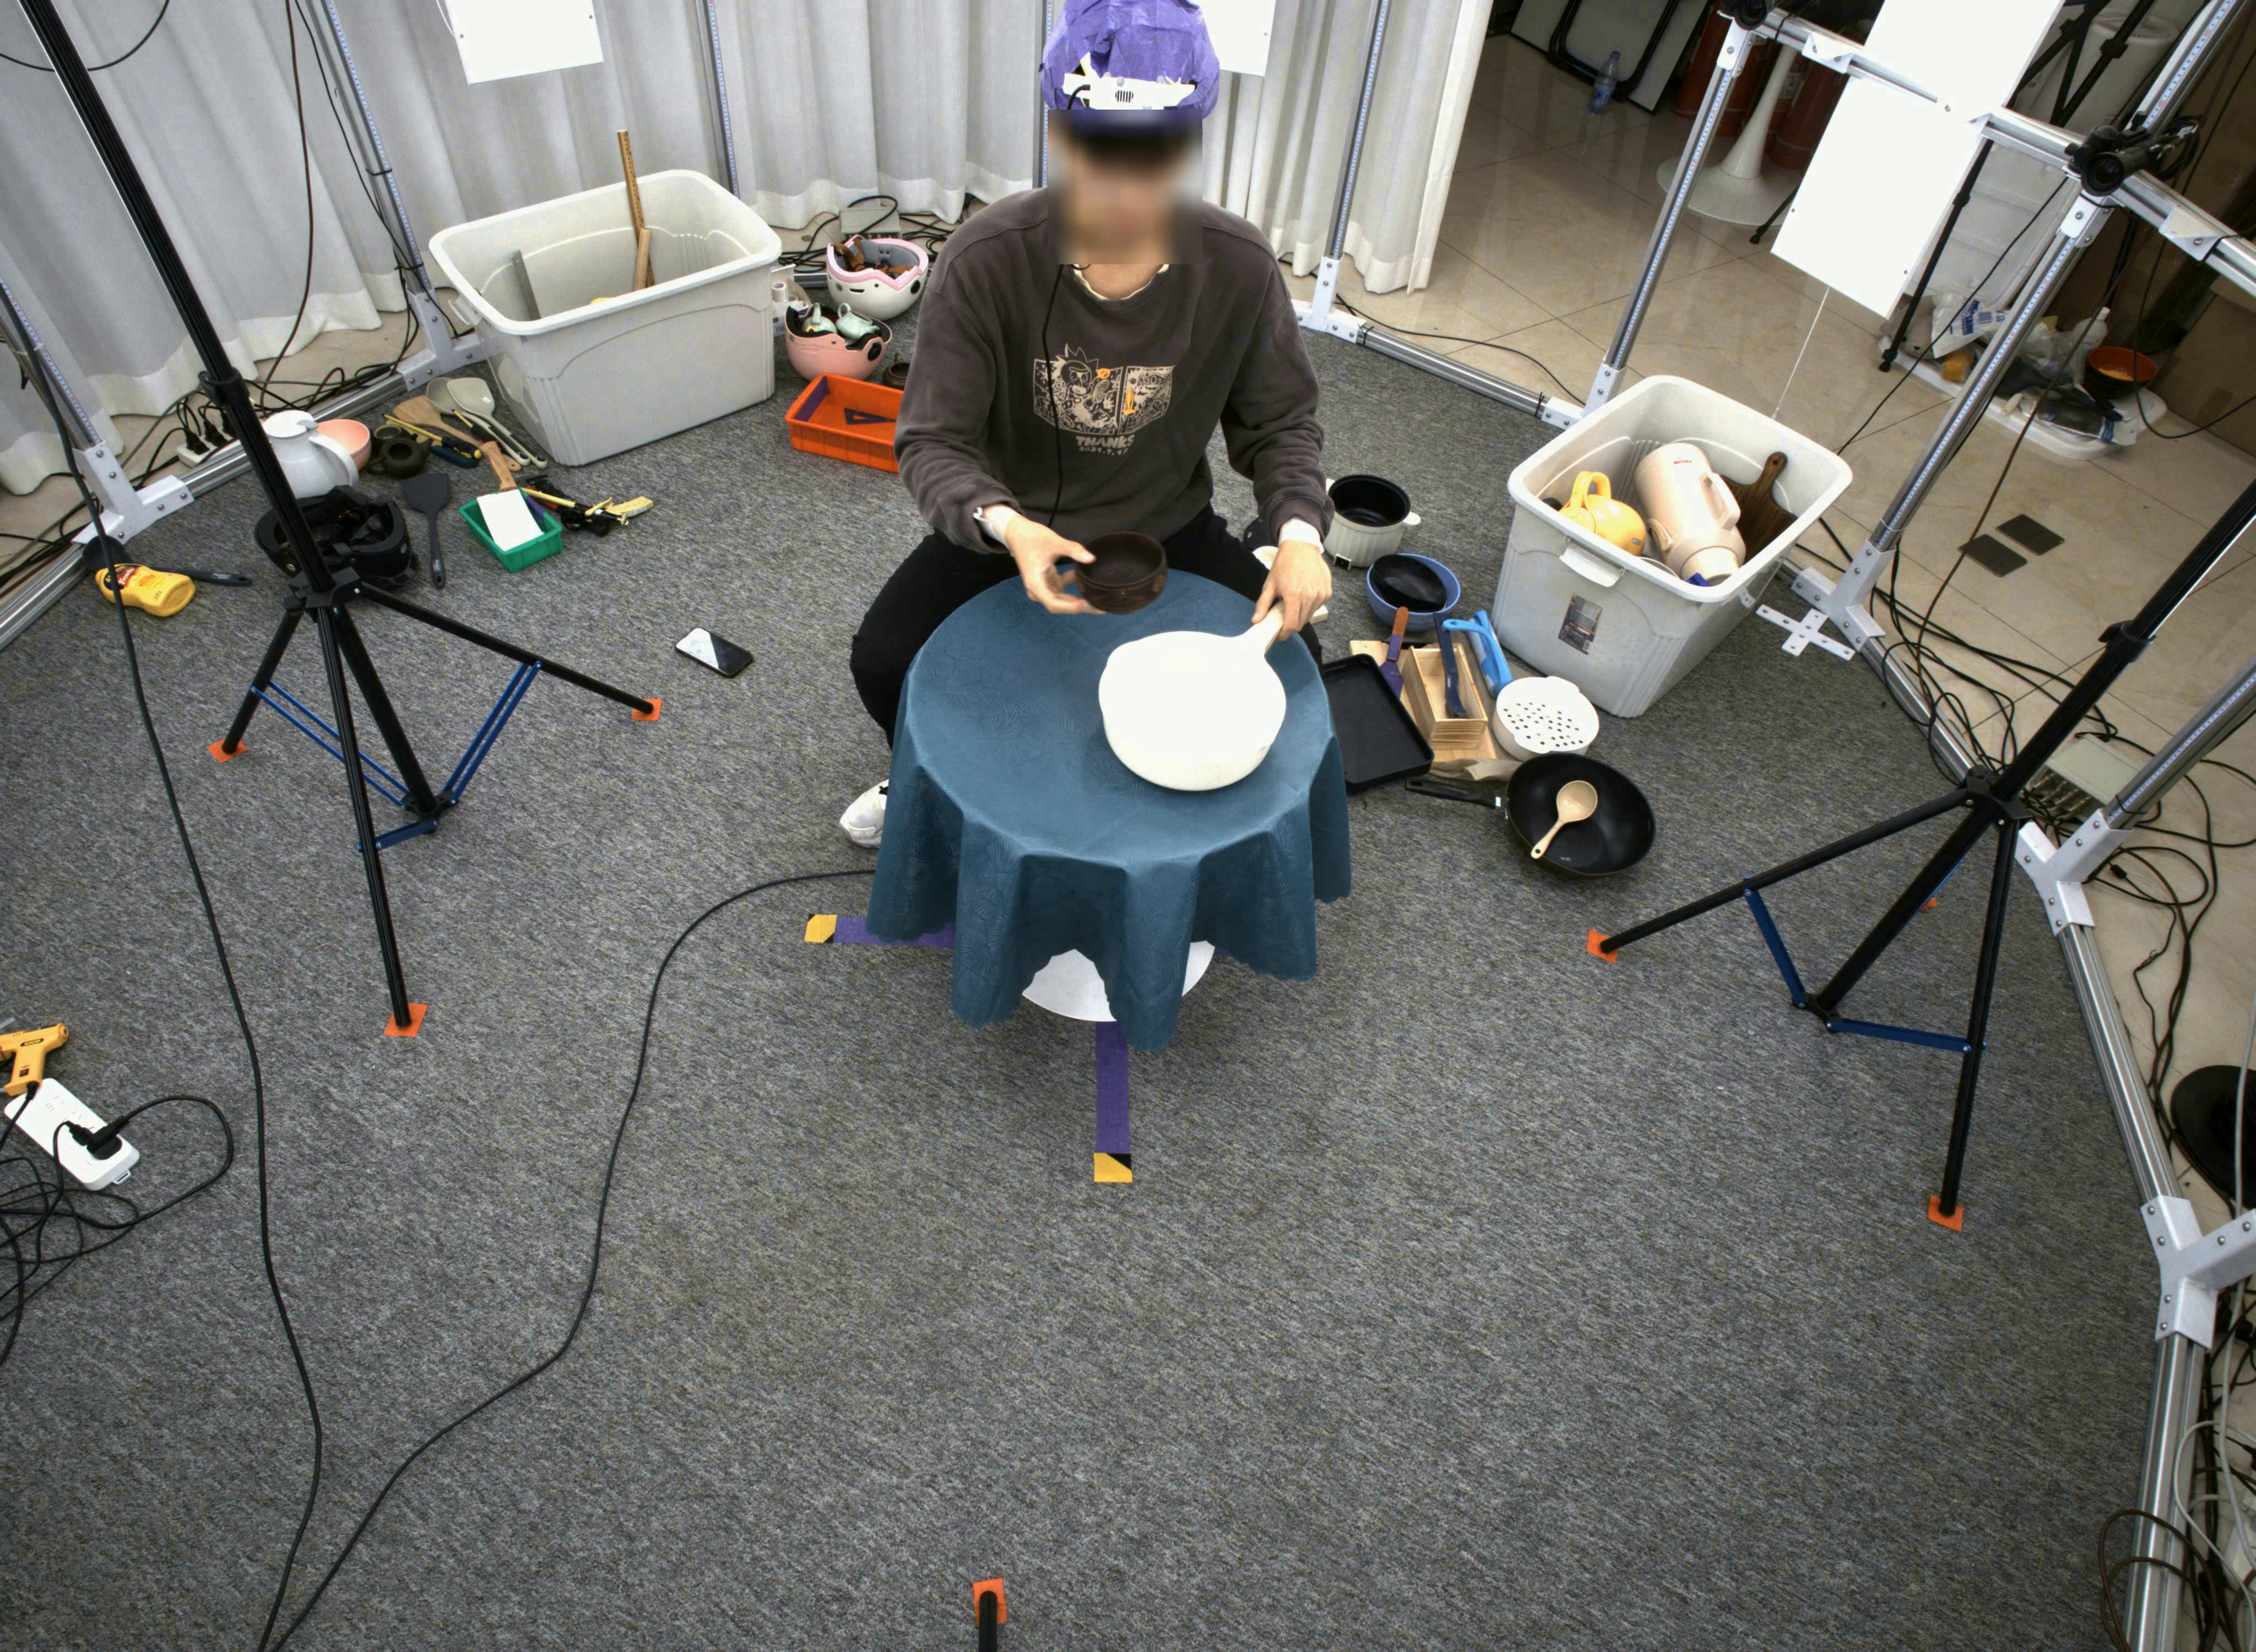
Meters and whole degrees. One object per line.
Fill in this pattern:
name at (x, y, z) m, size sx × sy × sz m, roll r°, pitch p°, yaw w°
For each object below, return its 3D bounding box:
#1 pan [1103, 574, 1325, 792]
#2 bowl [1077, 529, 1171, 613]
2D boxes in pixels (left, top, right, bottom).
pan at (0.147, -0.207, 1.791) m, size 0.266 × 0.099 × 0.440 m, roll 31°, pitch 54°, yaw 24°
bowl at (-0.003, -0.314, 1.626) m, size 0.118 × 0.068 × 0.121 m, roll -5°, pitch 46°, yaw 4°
